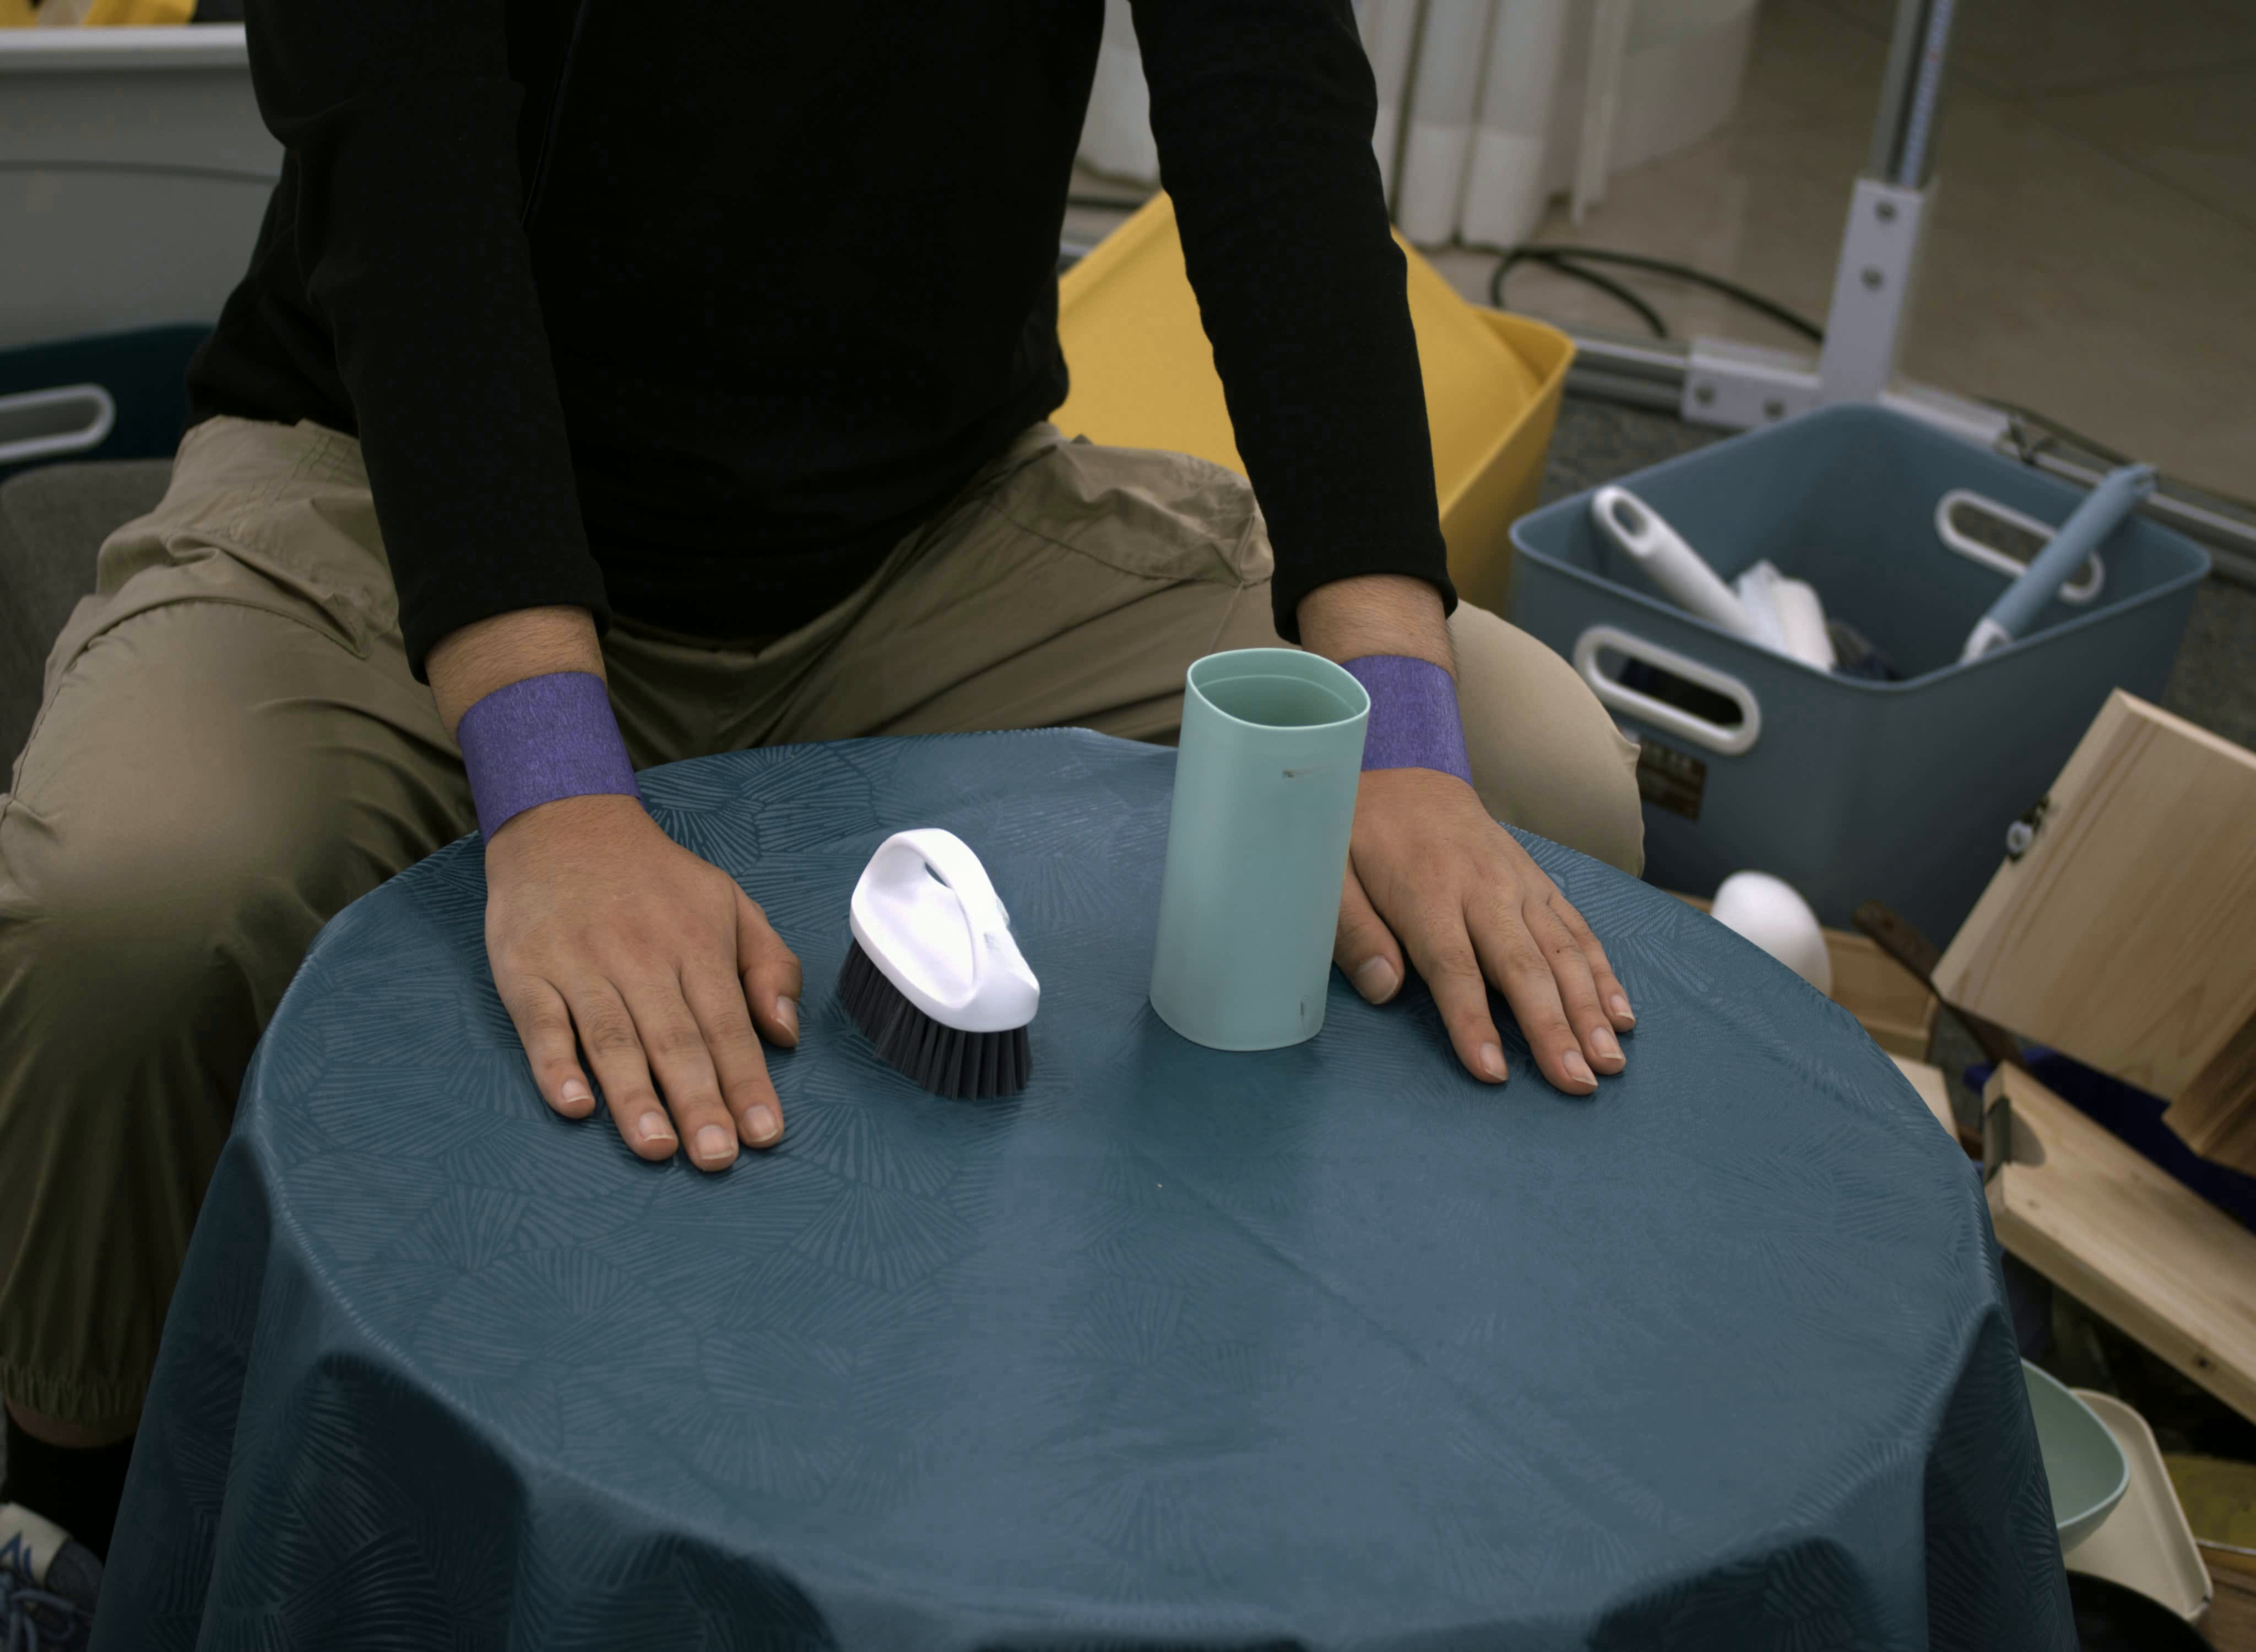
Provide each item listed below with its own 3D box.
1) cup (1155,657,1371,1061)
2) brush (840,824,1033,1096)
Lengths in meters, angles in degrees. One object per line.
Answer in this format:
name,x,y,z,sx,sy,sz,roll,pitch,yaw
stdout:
cup,0.046,0.012,1.895,0.066,0.132,0.067,5,27,-3
brush,-0.066,0.040,1.868,0.050,0.072,0.100,-5,30,-25
